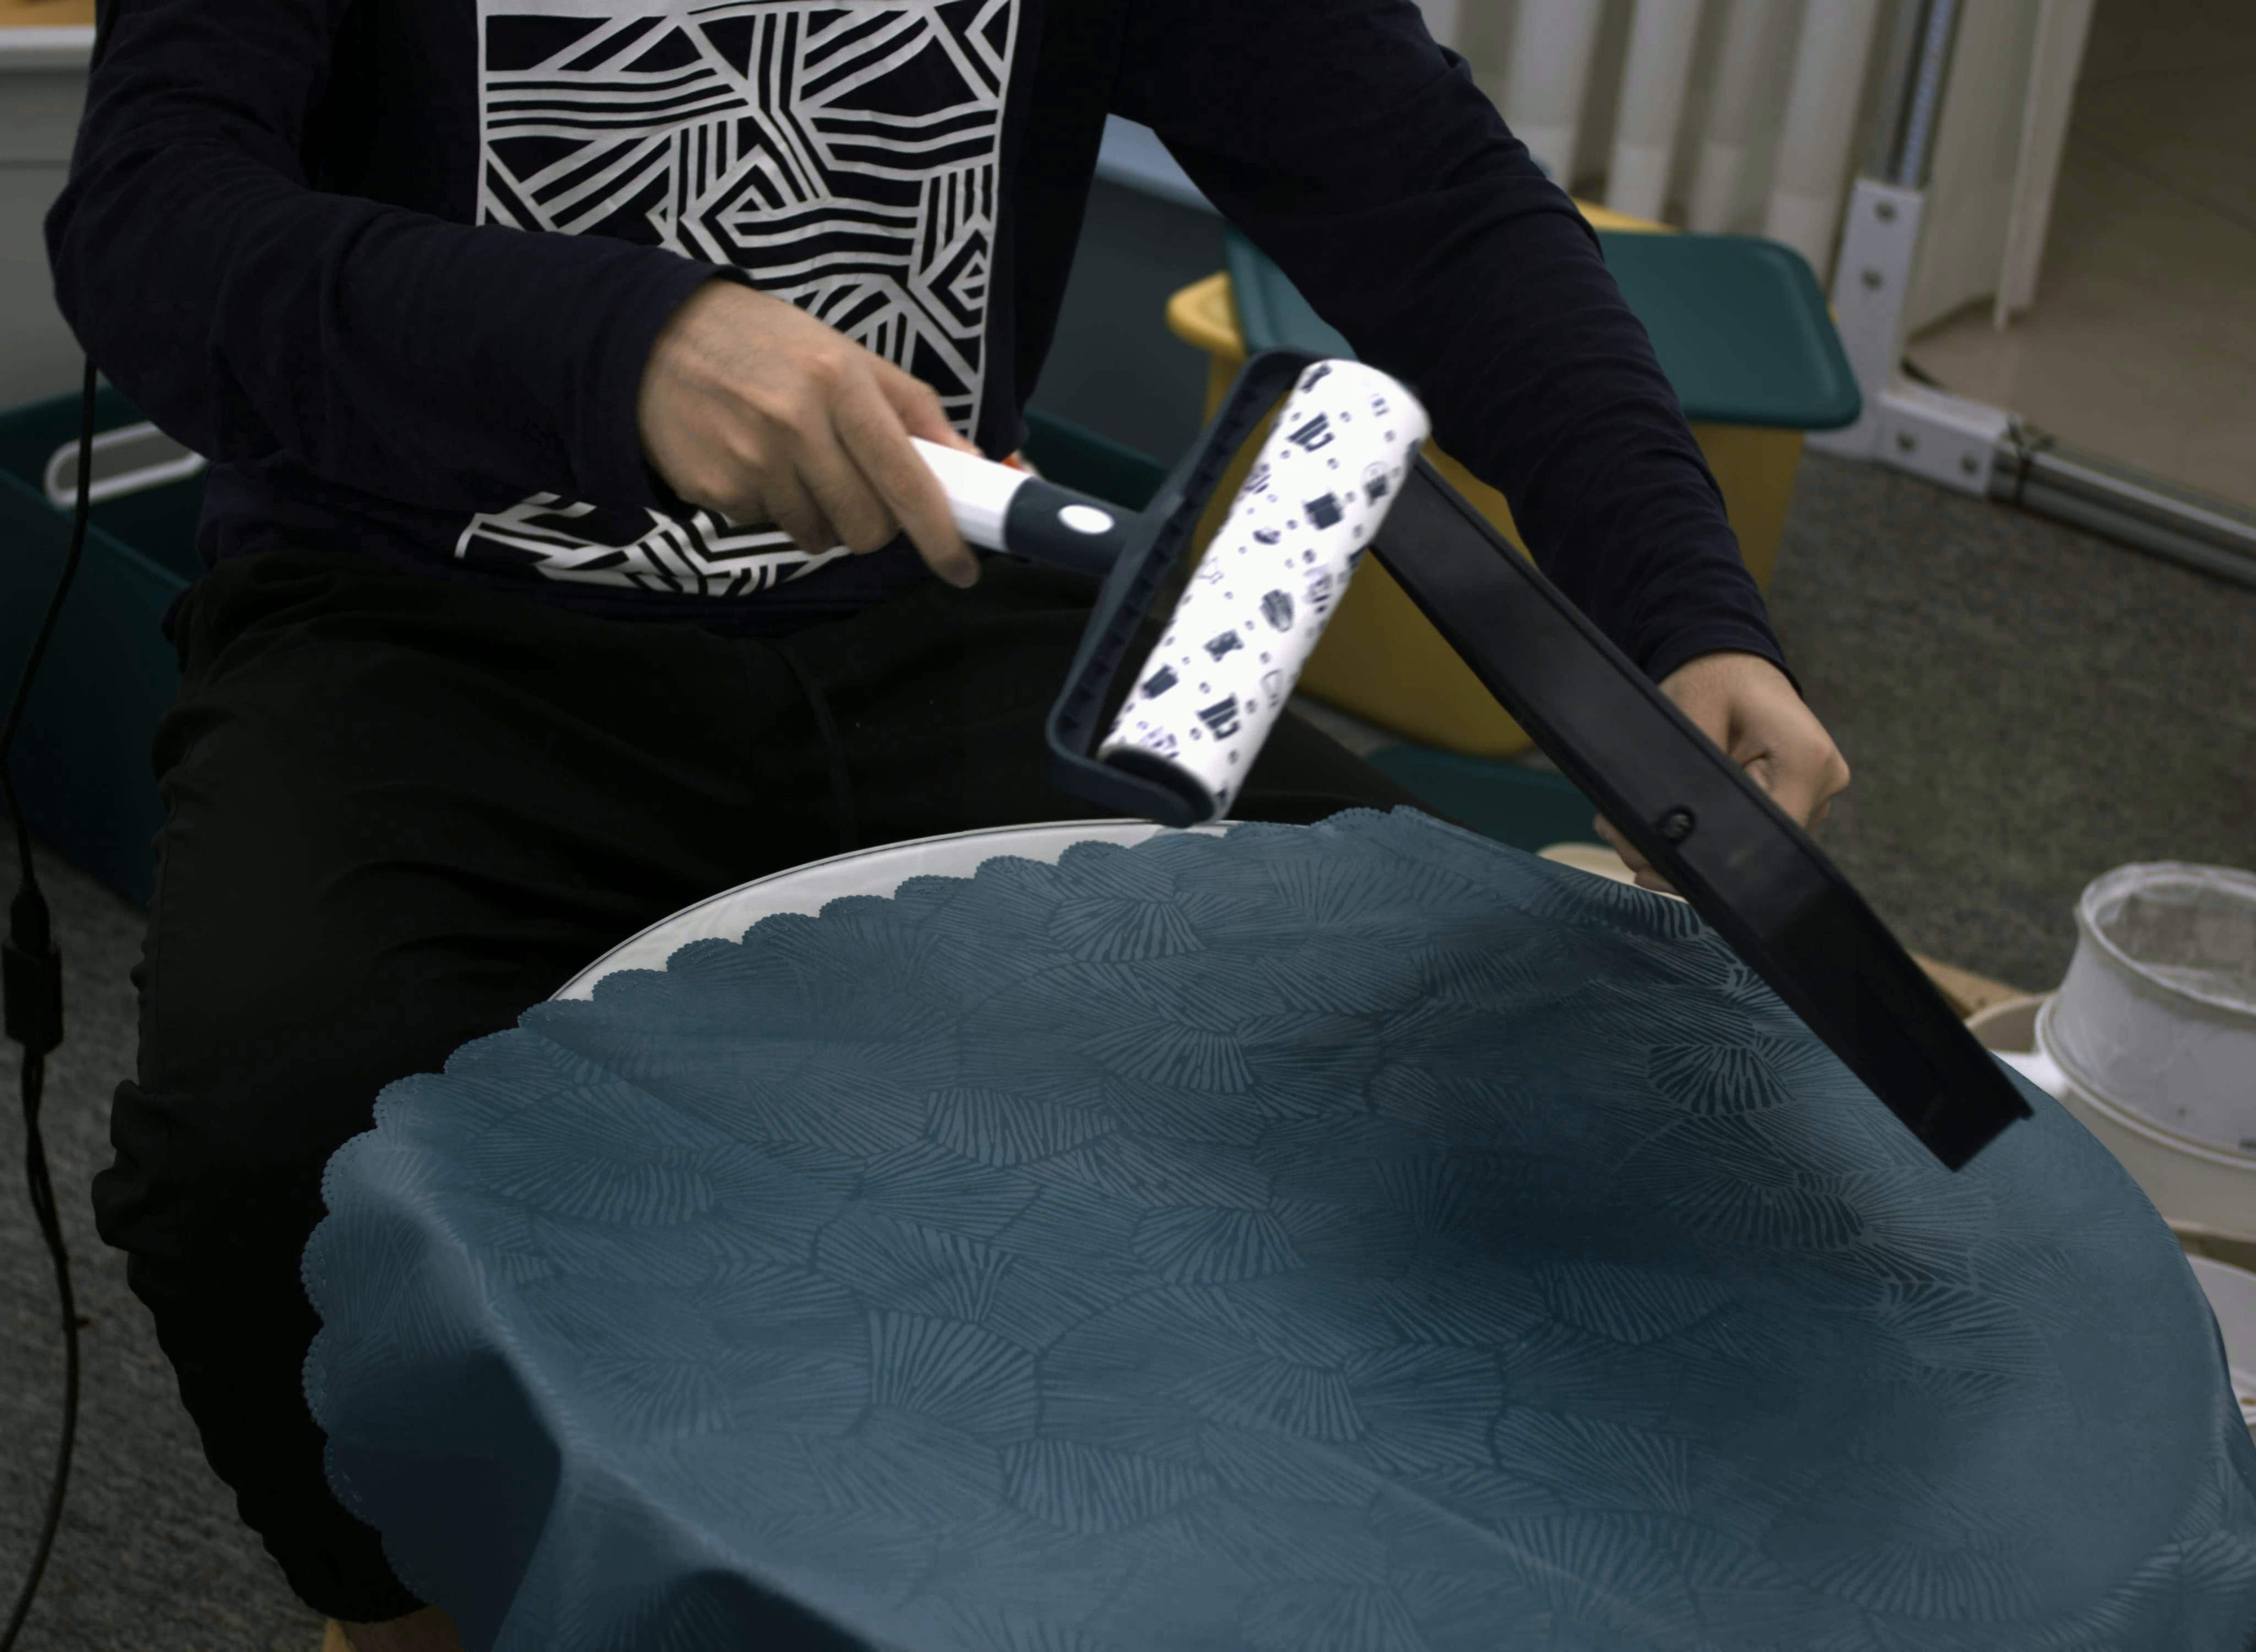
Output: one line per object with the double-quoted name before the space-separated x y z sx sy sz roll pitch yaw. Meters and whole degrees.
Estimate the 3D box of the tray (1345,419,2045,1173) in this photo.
"tray" 0.185 -0.015 1.842 0.037 0.182 0.321 -42 42 1

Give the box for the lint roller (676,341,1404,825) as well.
"lint roller" -0.049 -0.107 1.801 0.248 0.050 0.177 18 66 23
